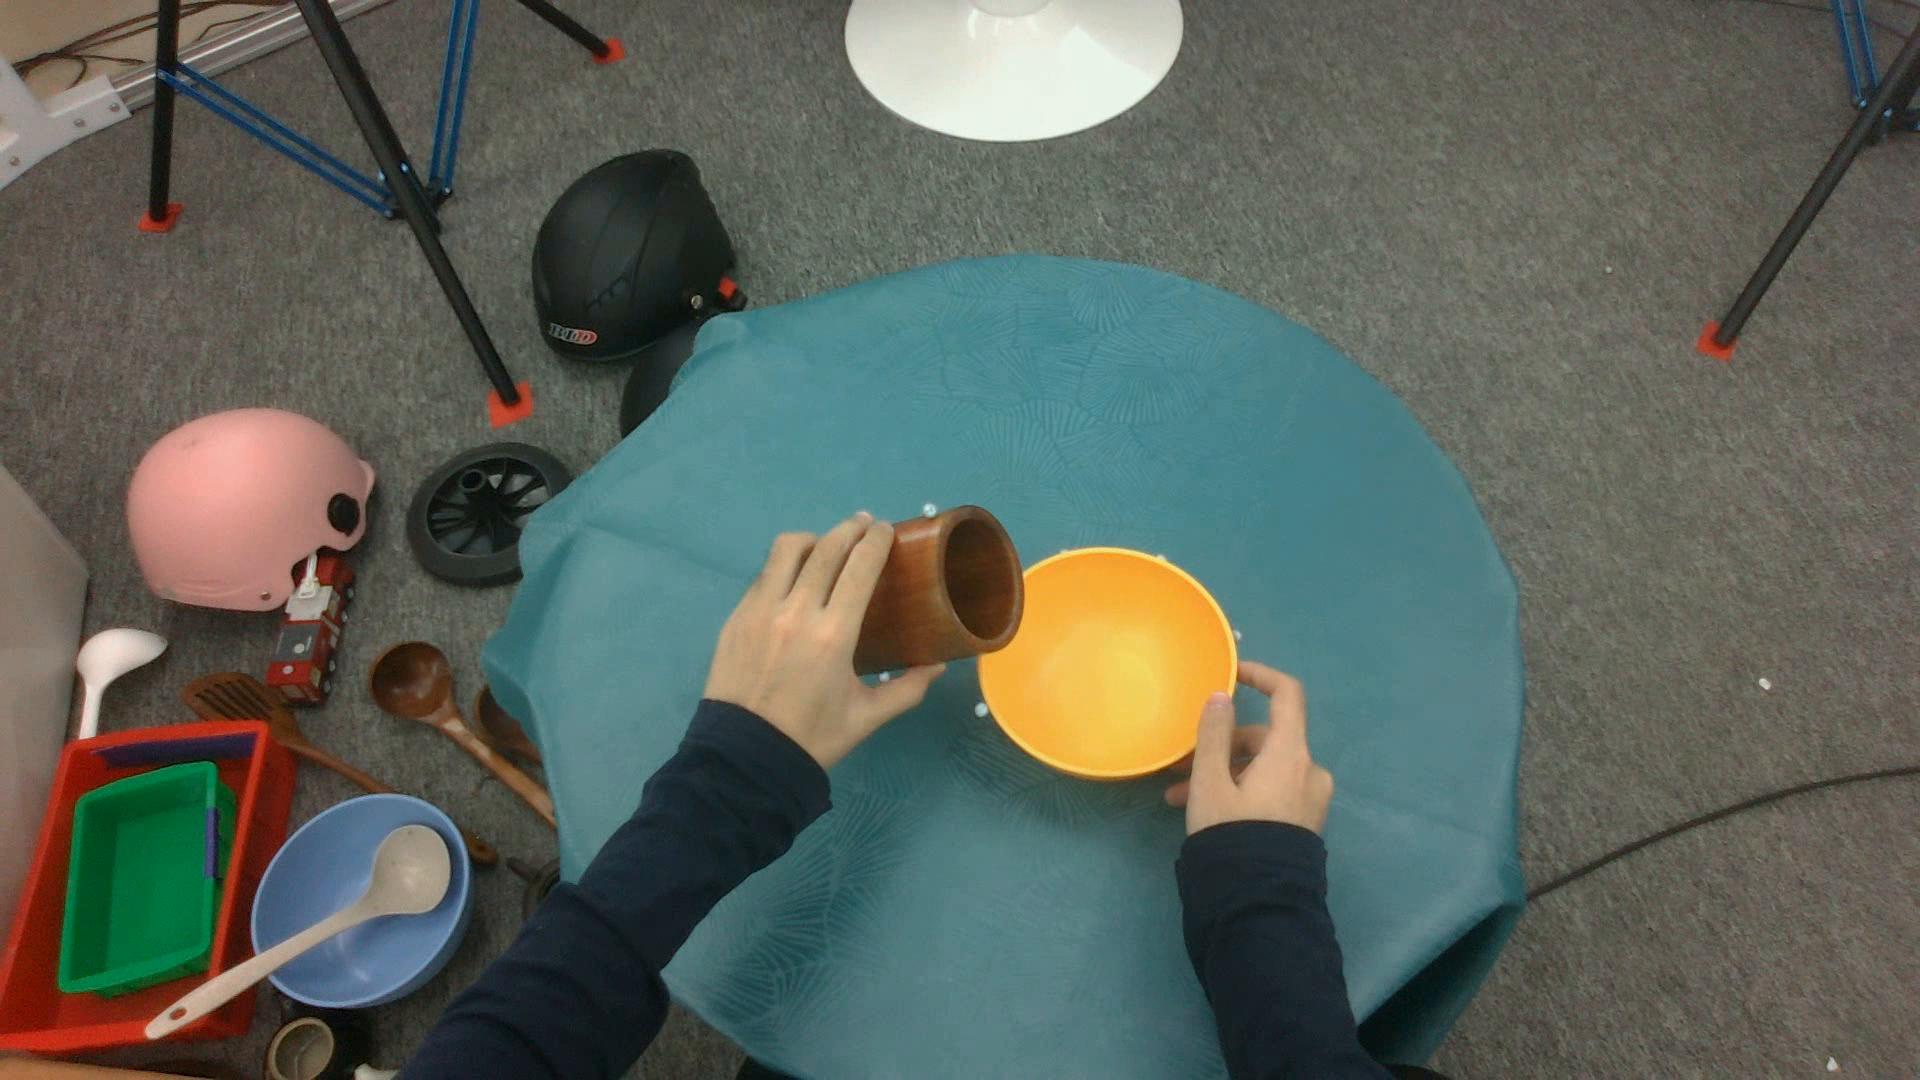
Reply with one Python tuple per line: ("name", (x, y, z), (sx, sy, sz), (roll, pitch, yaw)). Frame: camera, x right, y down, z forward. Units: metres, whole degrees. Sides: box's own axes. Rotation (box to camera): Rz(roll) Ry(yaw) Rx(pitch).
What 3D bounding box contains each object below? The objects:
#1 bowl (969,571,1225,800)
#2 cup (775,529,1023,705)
("bowl", (0.079, 0.093, 0.802), (0.145, 0.060, 0.146), (-2, 56, 3))
("cup", (-0.034, 0.046, 0.768), (0.118, 0.087, 0.088), (-16, 47, 38))
